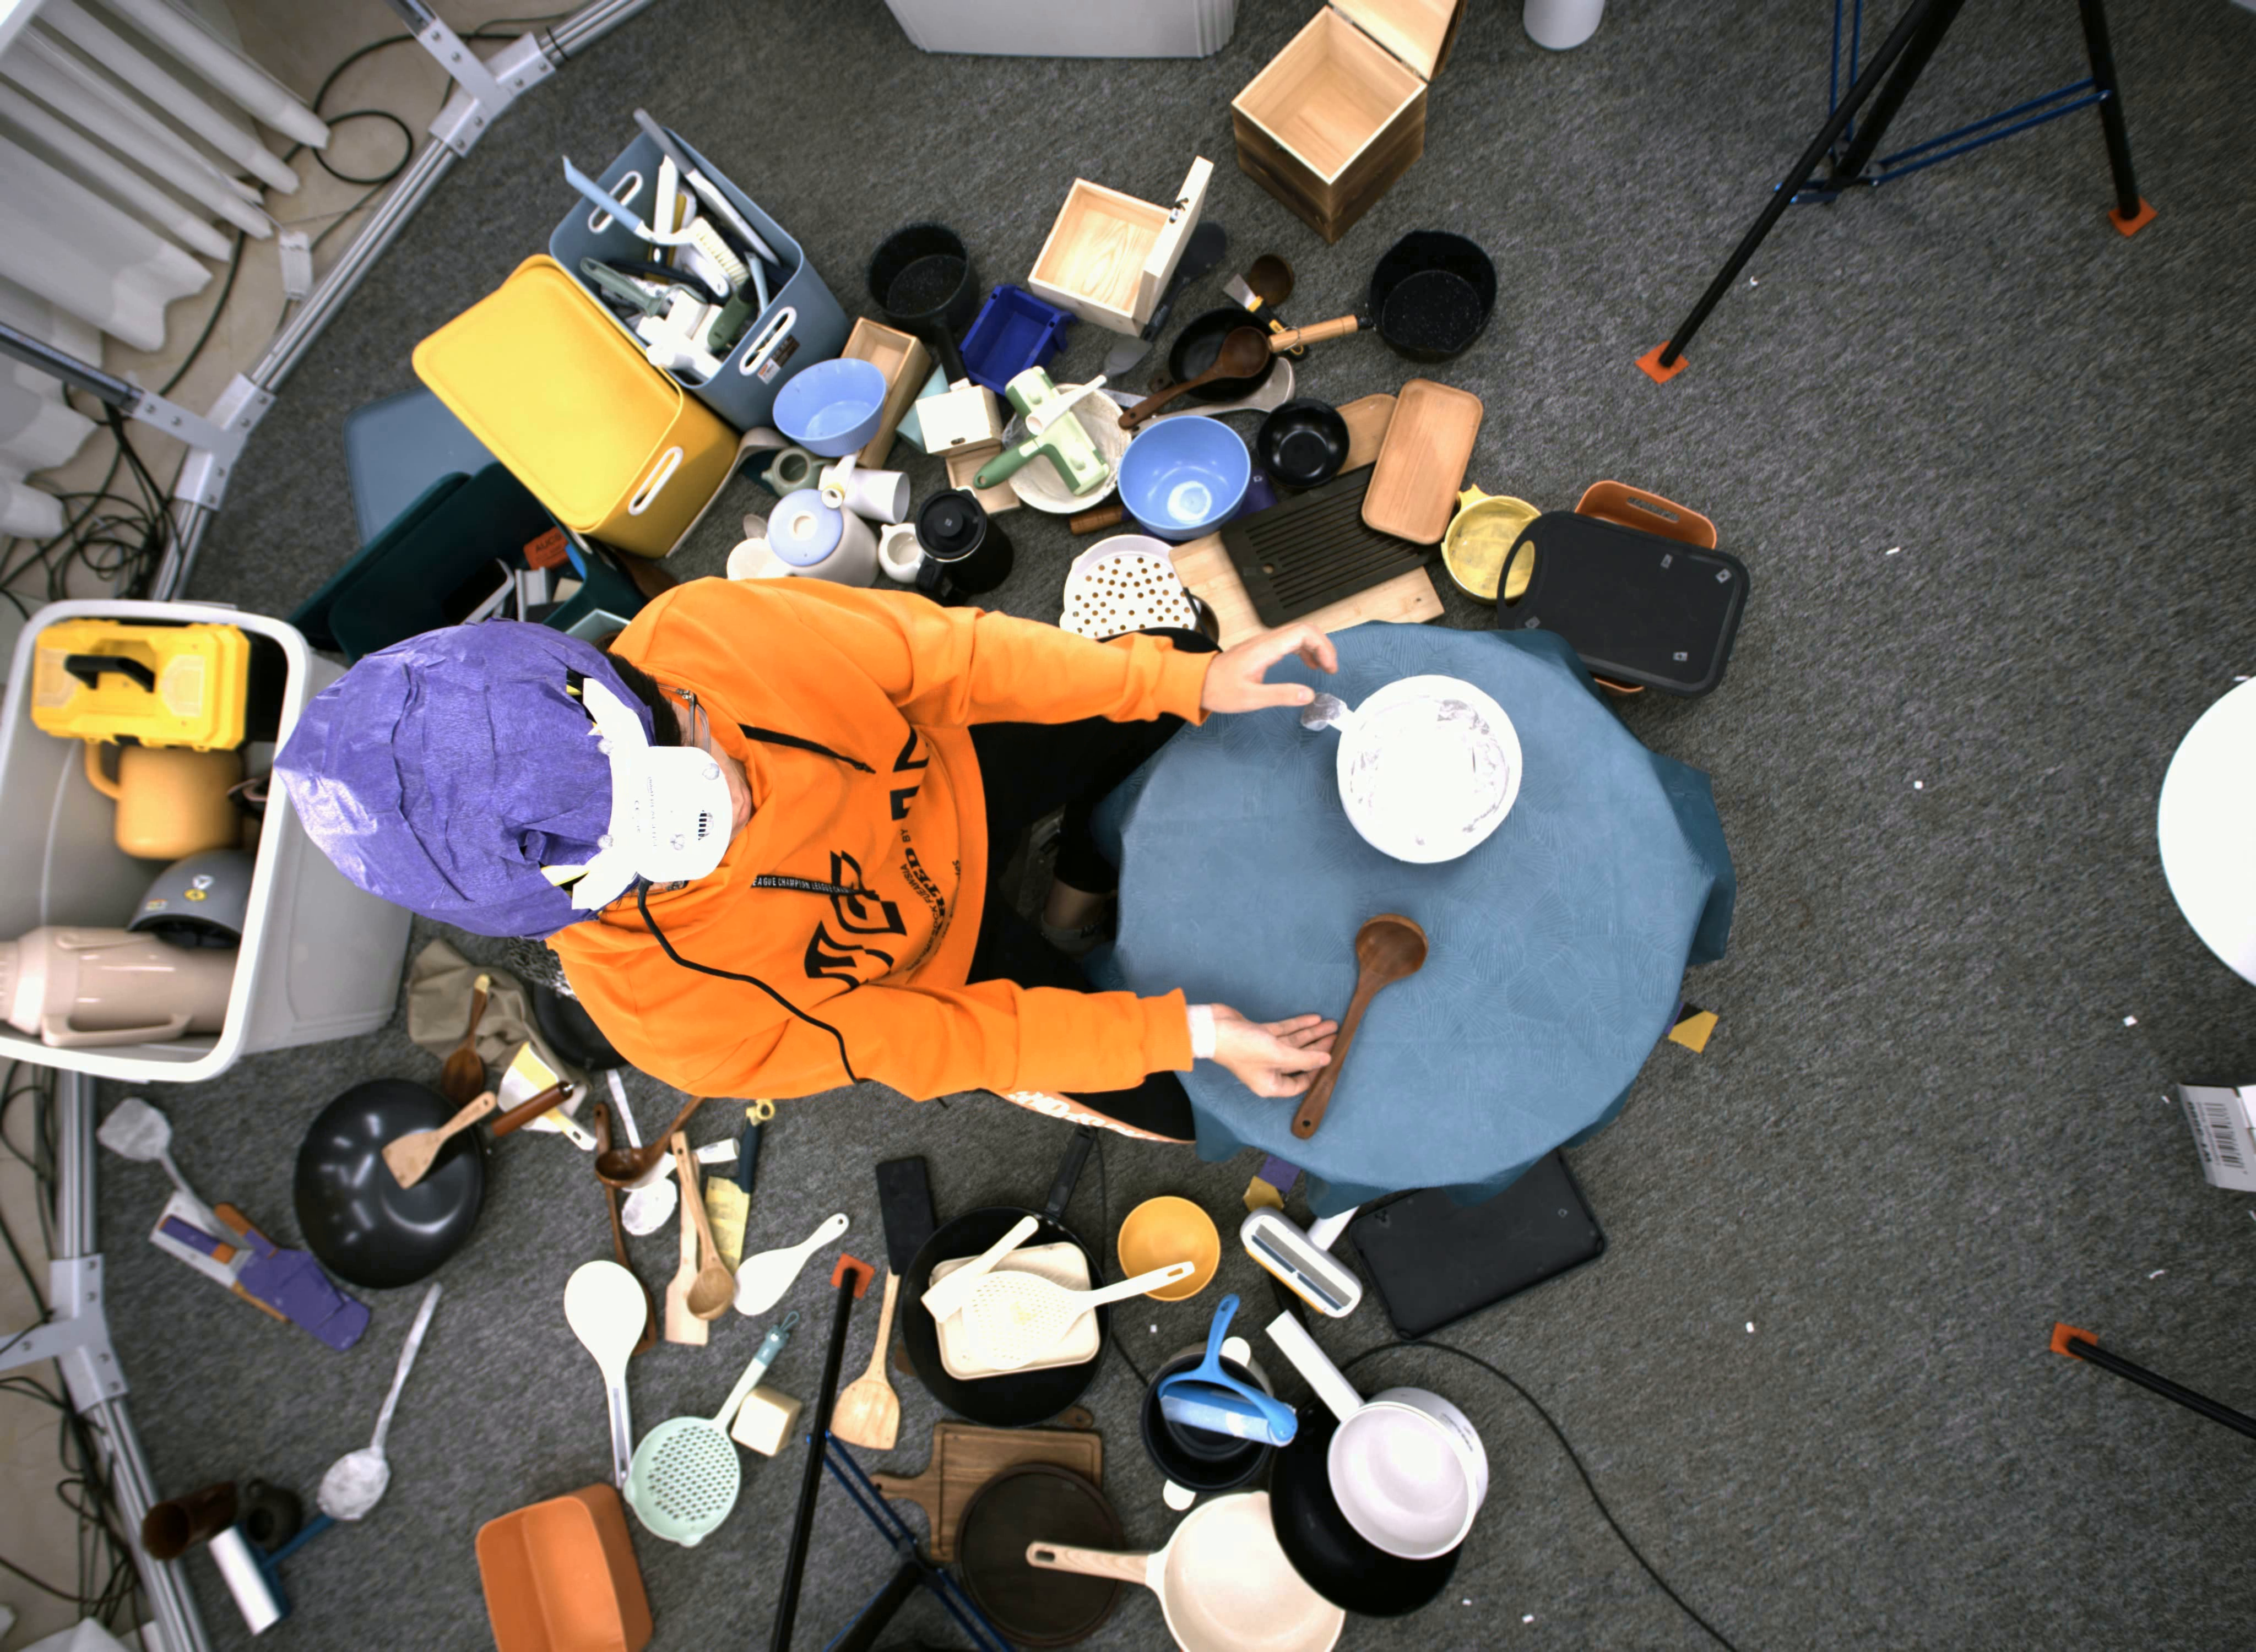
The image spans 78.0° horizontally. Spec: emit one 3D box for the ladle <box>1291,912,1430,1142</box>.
[{"bbox_3d":[0.231,0.209,1.427,0.076,0.065,0.260,26,91,10],"label":"ladle"}]

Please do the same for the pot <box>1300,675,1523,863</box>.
[{"bbox_3d":[0.278,-0.069,1.396,0.233,0.137,0.179,31,91,10],"label":"pot"}]
